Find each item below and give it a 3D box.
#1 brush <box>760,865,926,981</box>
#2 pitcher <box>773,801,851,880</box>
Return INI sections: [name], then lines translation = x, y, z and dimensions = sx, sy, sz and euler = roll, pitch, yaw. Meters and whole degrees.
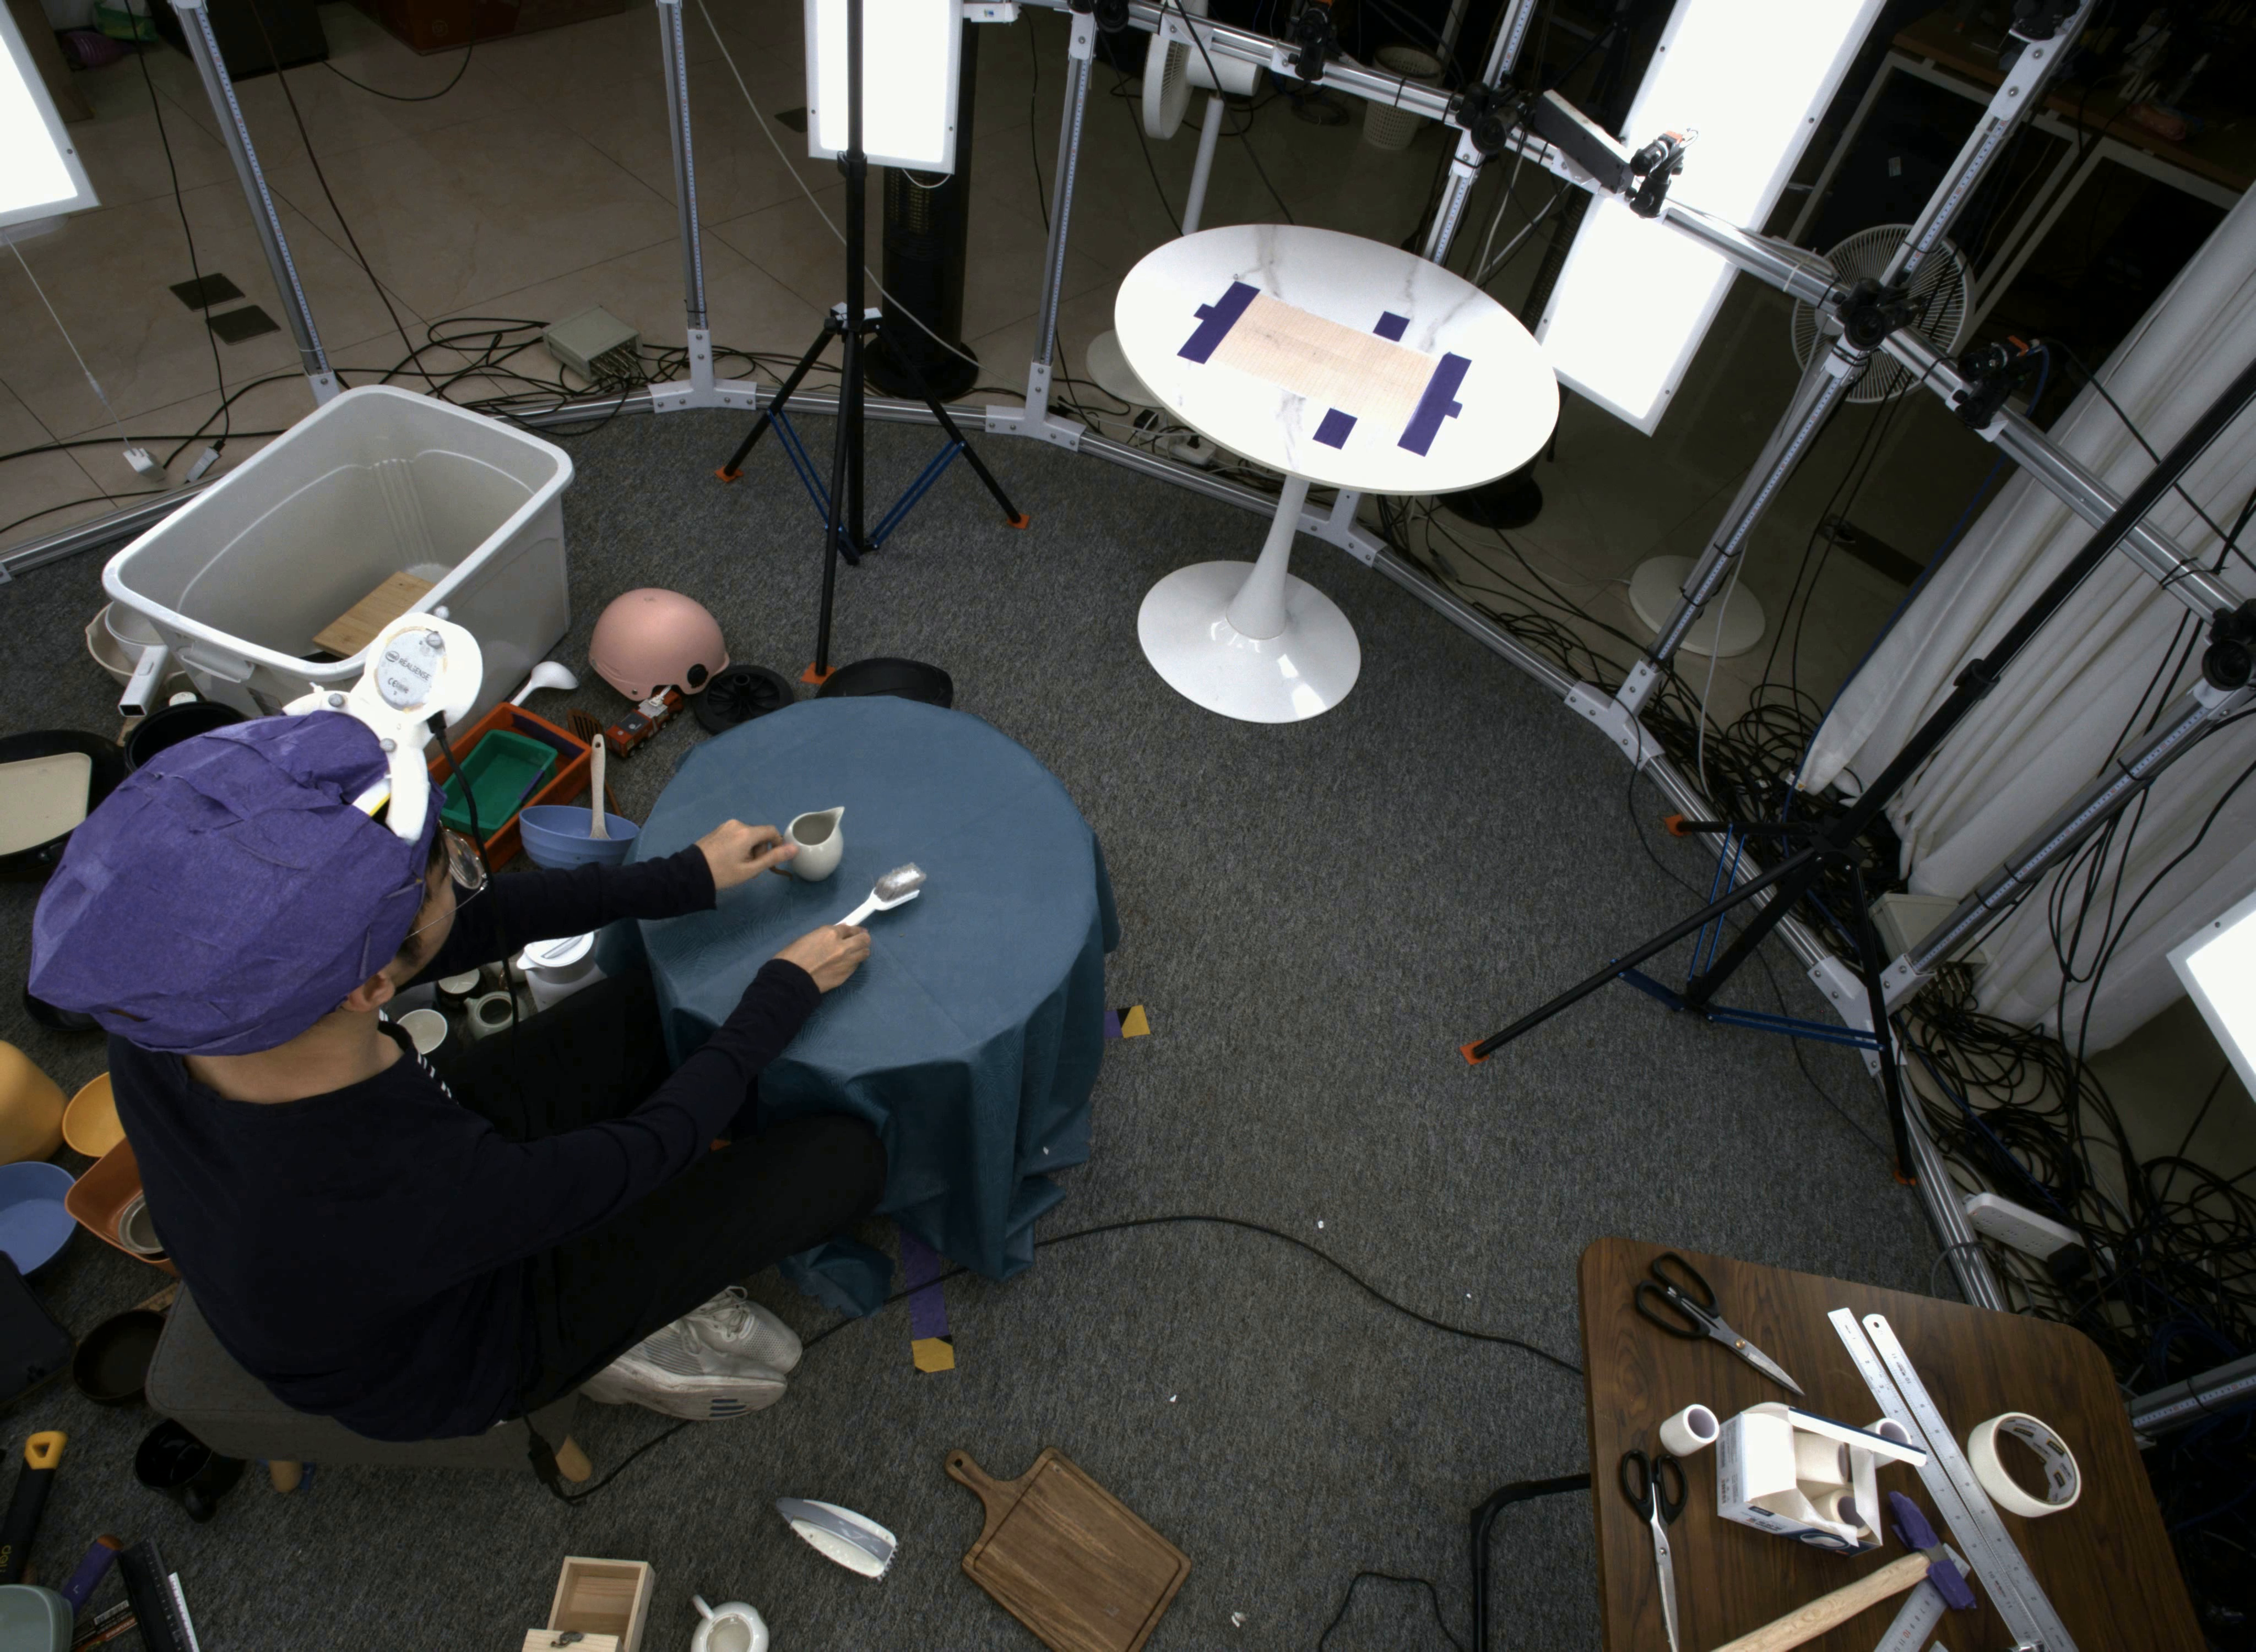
[brush]
translation = -0.353, 0.115, 1.617
dimensions = 0.244, 0.051, 0.033
euler = -32, 67, -35
[pitcher]
translation = -0.401, 0.025, 1.655
dimensions = 0.074, 0.090, 0.119
euler = 40, 52, 24
